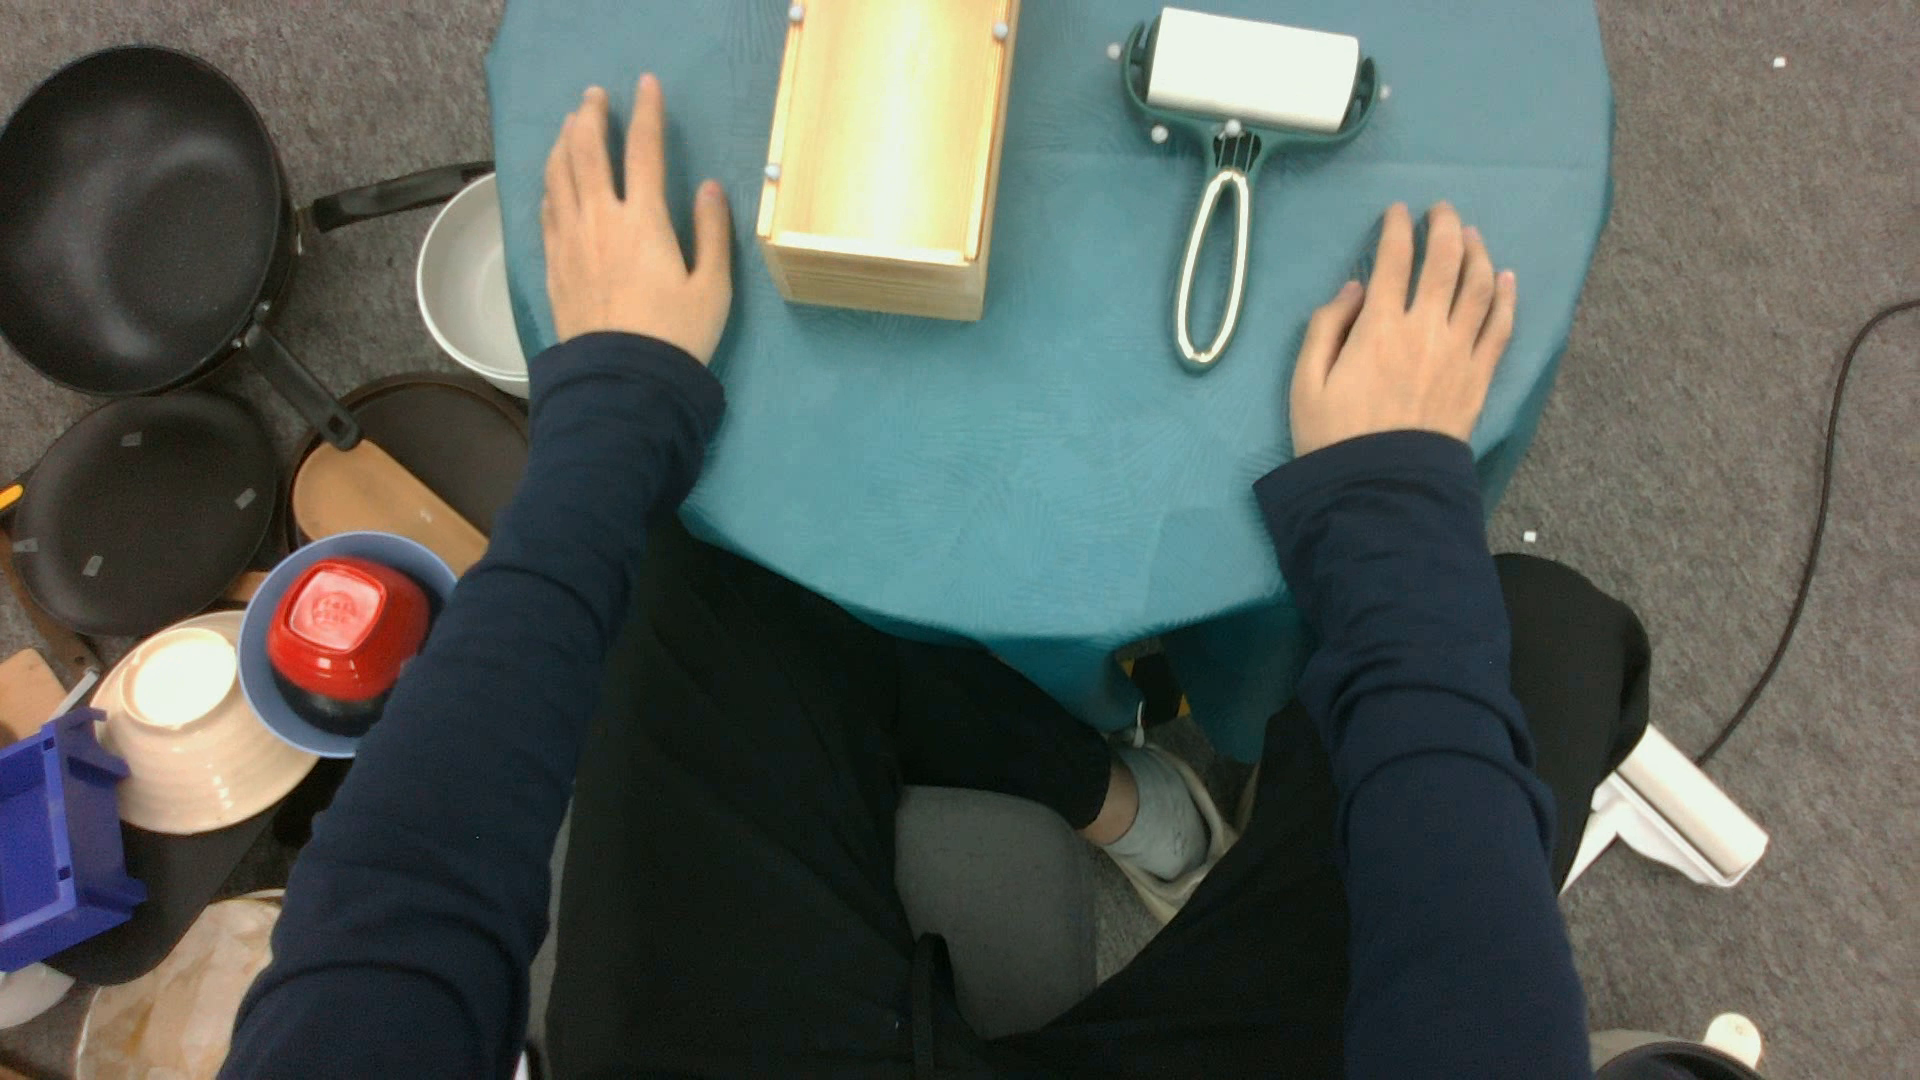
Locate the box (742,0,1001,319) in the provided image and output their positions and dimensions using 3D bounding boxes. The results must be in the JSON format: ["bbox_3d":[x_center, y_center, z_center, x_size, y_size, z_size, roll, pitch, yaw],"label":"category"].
[{"bbox_3d":[-0.039,-0.231,0.706,0.107,0.080,0.212,6,79,1],"label":"box"}]

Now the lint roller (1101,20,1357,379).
[{"bbox_3d":[0.128,-0.175,0.714,0.134,0.048,0.180,10,82,2],"label":"lint roller"}]
